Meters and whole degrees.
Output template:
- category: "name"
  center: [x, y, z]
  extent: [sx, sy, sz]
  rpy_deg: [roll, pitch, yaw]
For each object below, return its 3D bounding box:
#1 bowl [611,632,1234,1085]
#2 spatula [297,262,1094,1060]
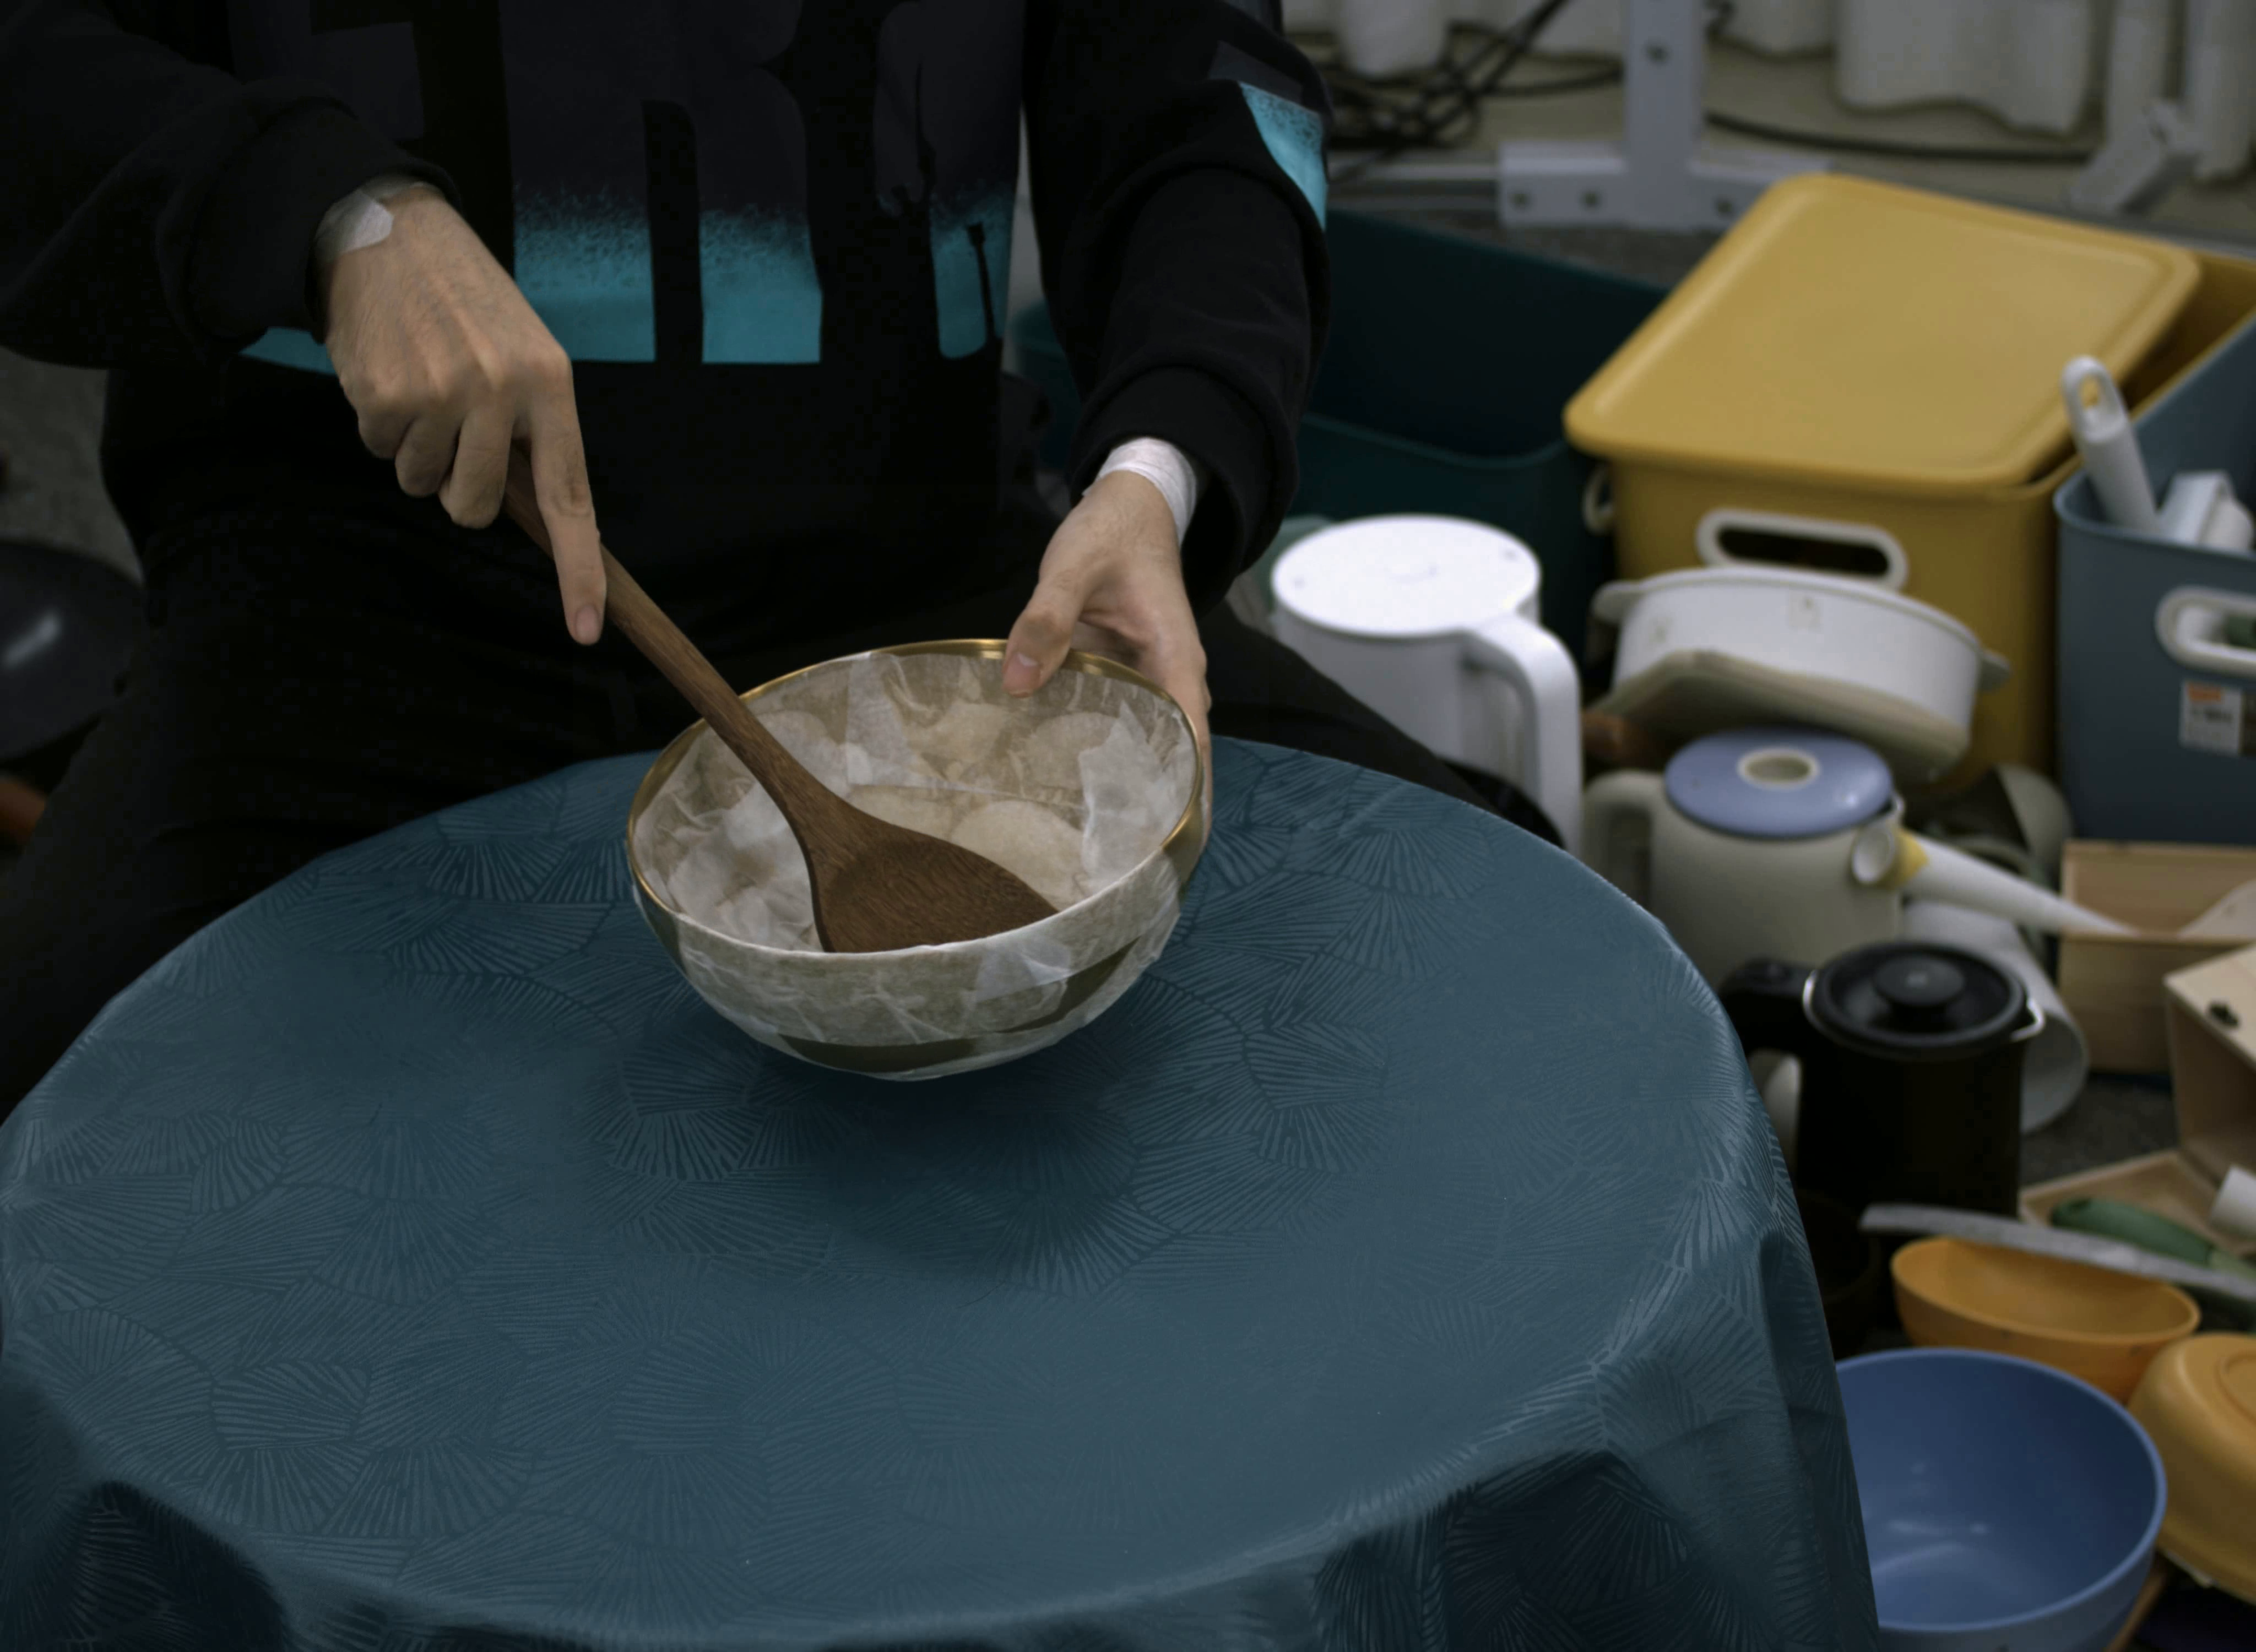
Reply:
- category: "bowl"
  center: [-0.065, 0.024, 1.927]
  extent: [0.213, 0.093, 0.218]
  rpy_deg: [-6, 30, 4]
- category: "spatula"
  center: [-0.160, -0.063, 1.952]
  extent: [0.387, 0.015, 0.097]
  rpy_deg: [47, 42, 12]
